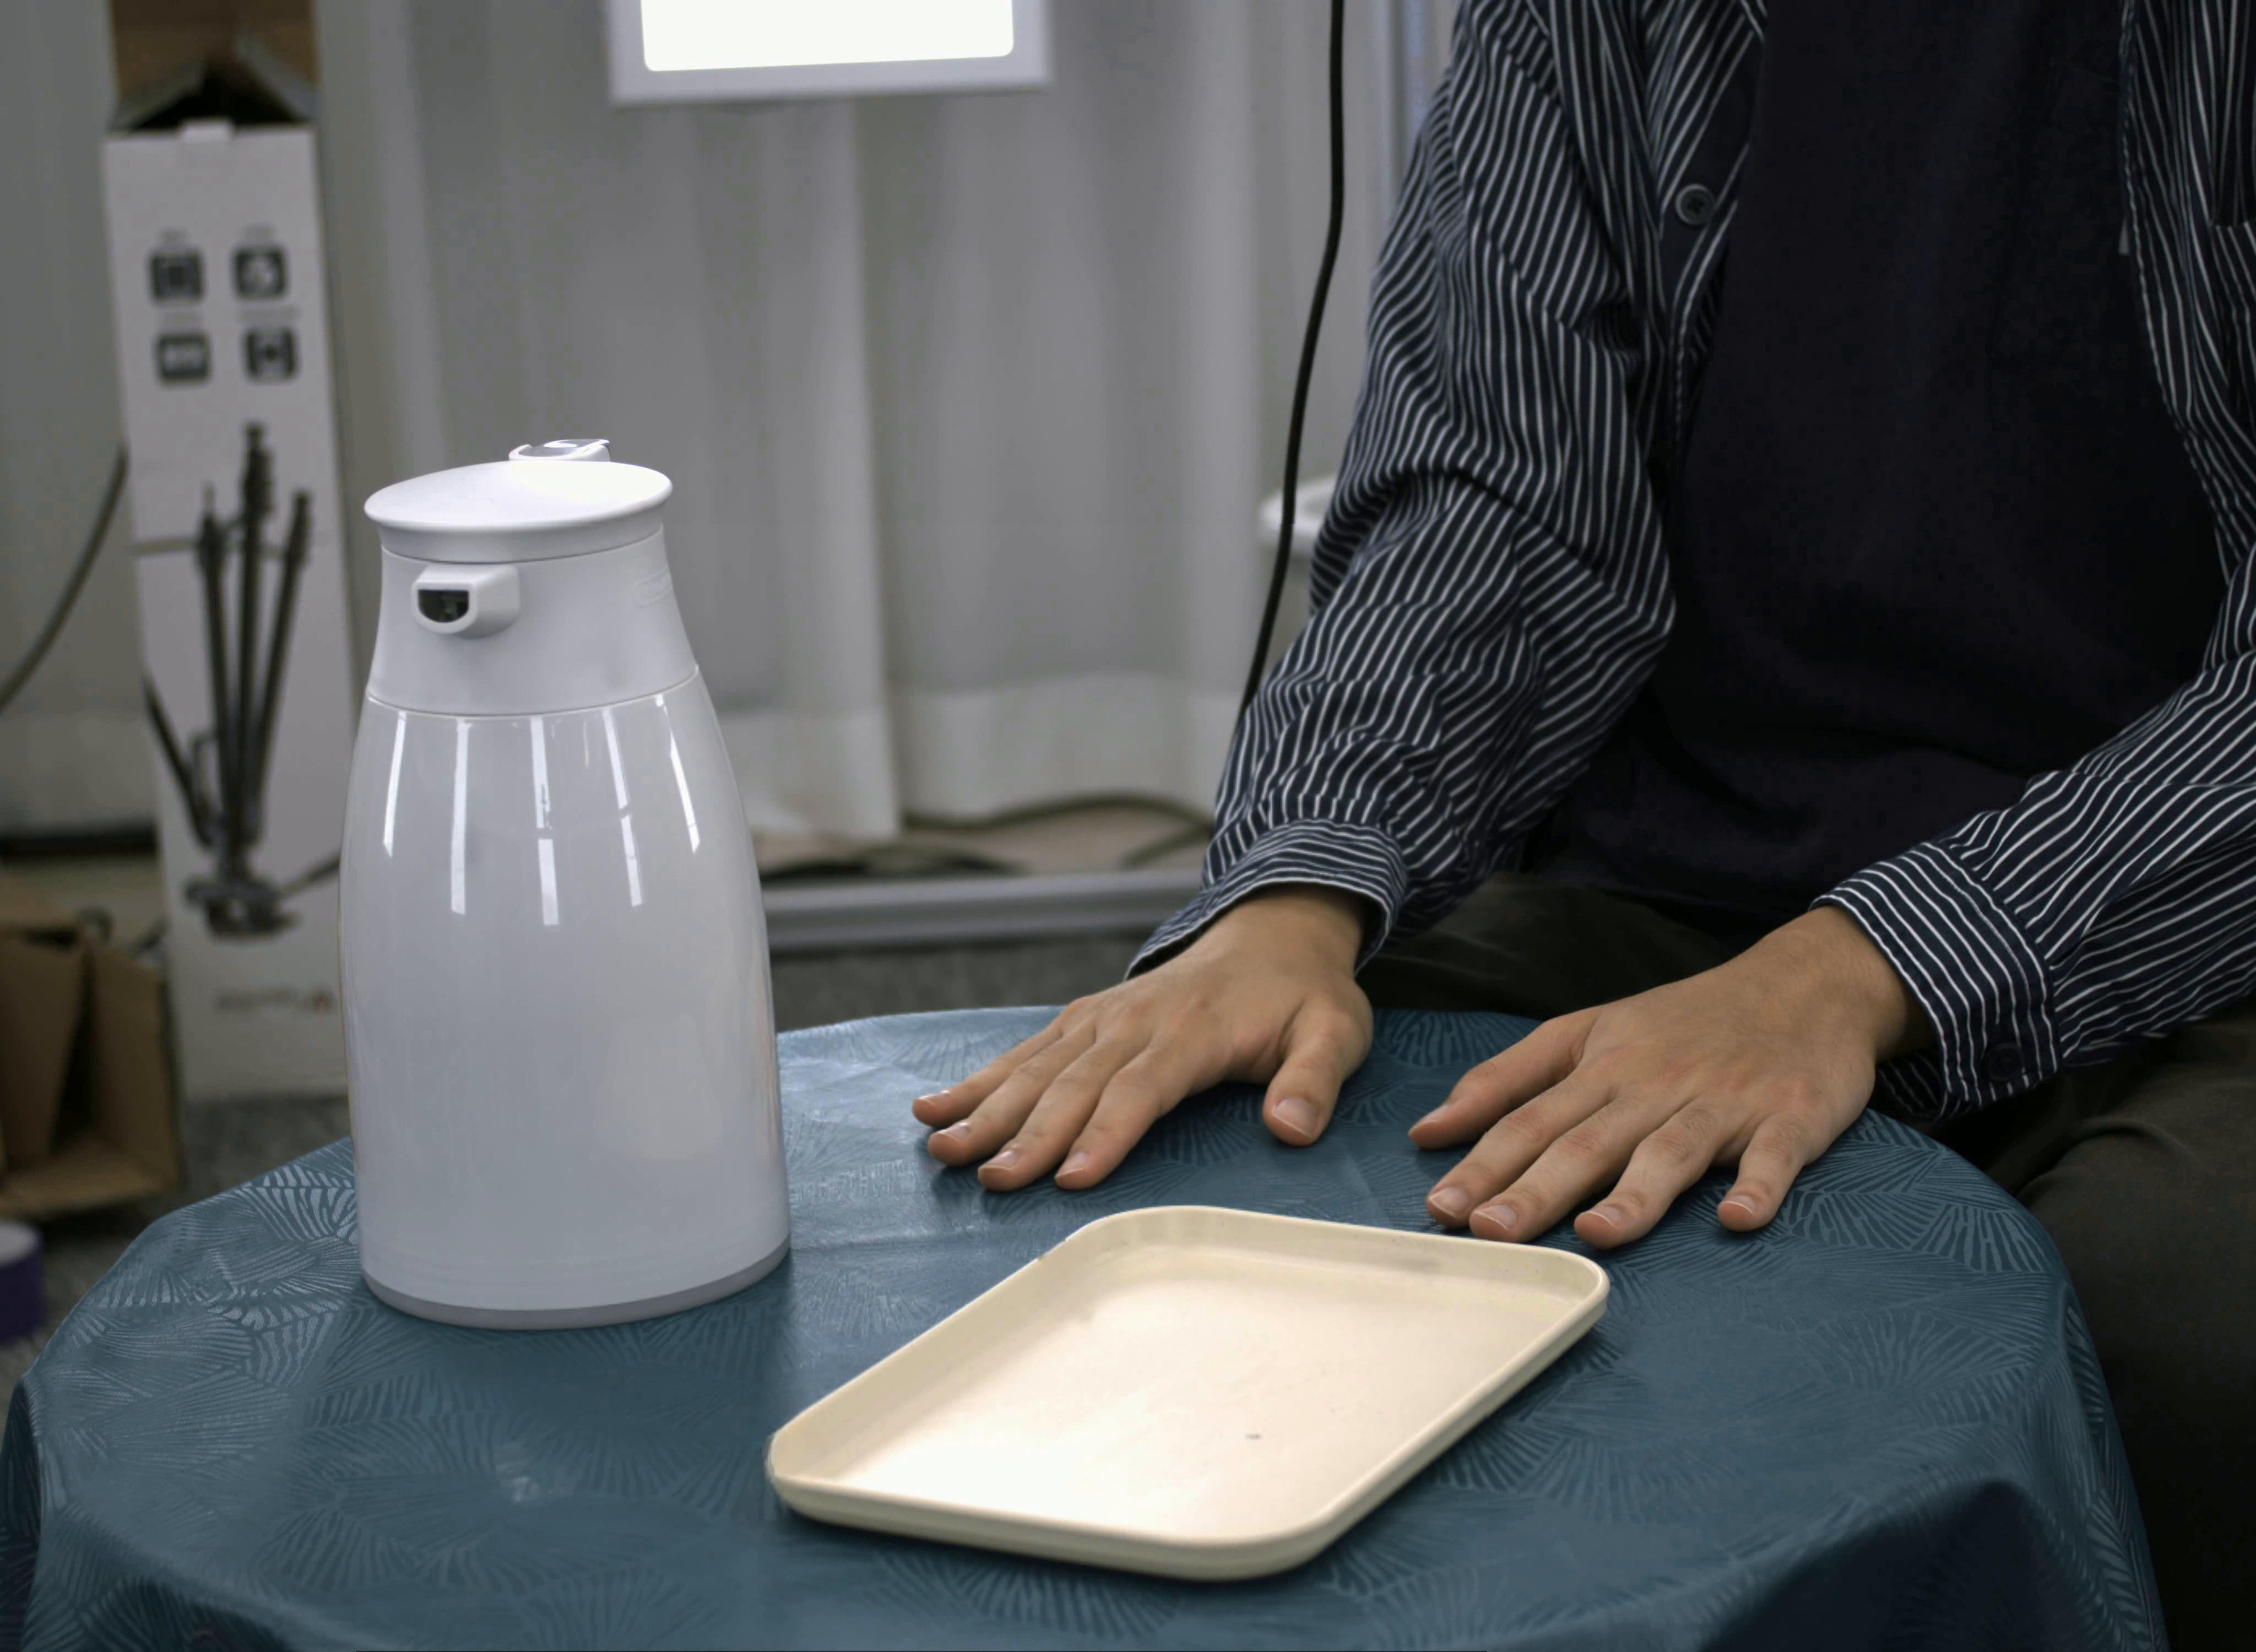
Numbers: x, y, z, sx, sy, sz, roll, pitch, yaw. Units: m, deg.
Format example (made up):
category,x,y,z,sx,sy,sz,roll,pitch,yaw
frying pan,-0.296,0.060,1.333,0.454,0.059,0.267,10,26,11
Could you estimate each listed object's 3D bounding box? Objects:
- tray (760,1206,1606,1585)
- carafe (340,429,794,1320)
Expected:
category,x,y,z,sx,sy,sz,roll,pitch,yaw
tray,0.019,0.157,1.521,0.171,0.017,0.240,5,17,27
carafe,-0.172,0.006,1.671,0.132,0.248,0.168,-1,13,12
